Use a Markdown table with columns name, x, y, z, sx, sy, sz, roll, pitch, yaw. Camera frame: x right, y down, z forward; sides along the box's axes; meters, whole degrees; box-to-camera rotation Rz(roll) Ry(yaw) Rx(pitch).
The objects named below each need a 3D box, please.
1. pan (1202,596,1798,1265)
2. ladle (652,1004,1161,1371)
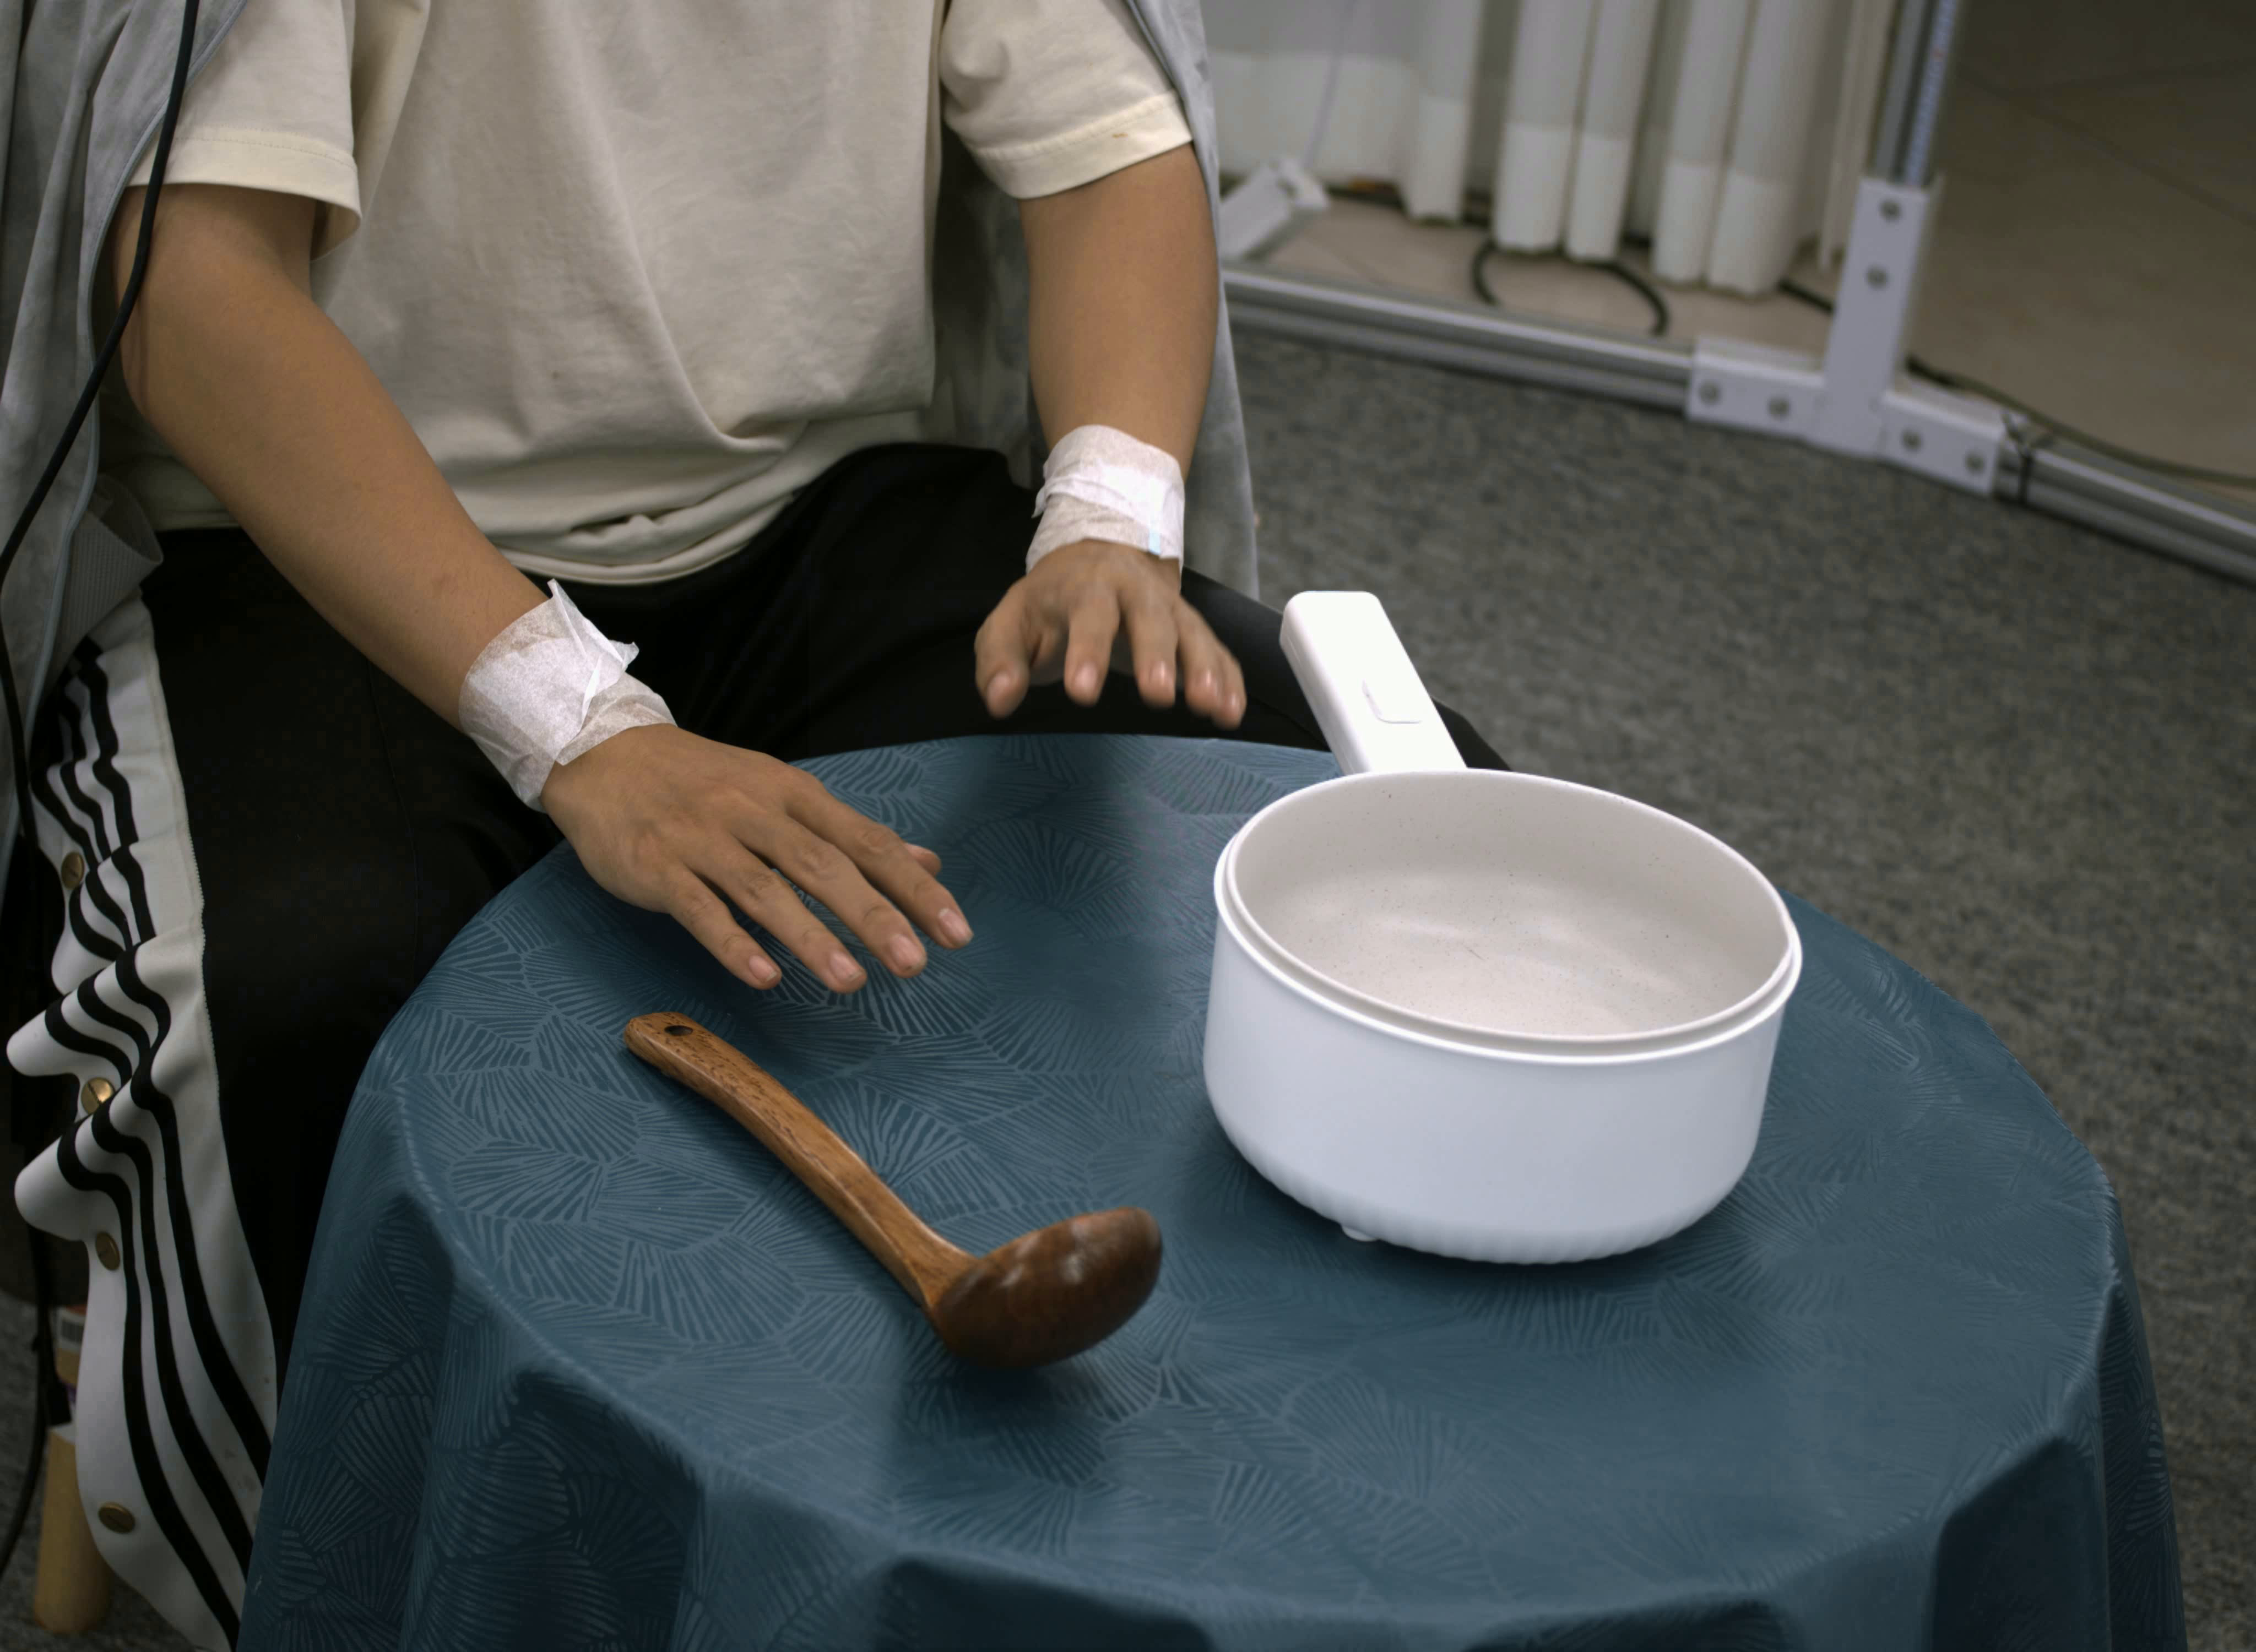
| name | x | y | z | sx | sy | sz | roll | pitch | yaw |
| --- | --- | --- | --- | --- | --- | --- | --- | --- | --- |
| pan | 0.109 | 0.034 | 1.898 | 0.200 | 0.102 | 0.357 | 0 | 27 | -12 |
| ladle | -0.084 | 0.098 | 1.749 | 0.081 | 0.076 | 0.276 | -2 | 27 | -34 |
